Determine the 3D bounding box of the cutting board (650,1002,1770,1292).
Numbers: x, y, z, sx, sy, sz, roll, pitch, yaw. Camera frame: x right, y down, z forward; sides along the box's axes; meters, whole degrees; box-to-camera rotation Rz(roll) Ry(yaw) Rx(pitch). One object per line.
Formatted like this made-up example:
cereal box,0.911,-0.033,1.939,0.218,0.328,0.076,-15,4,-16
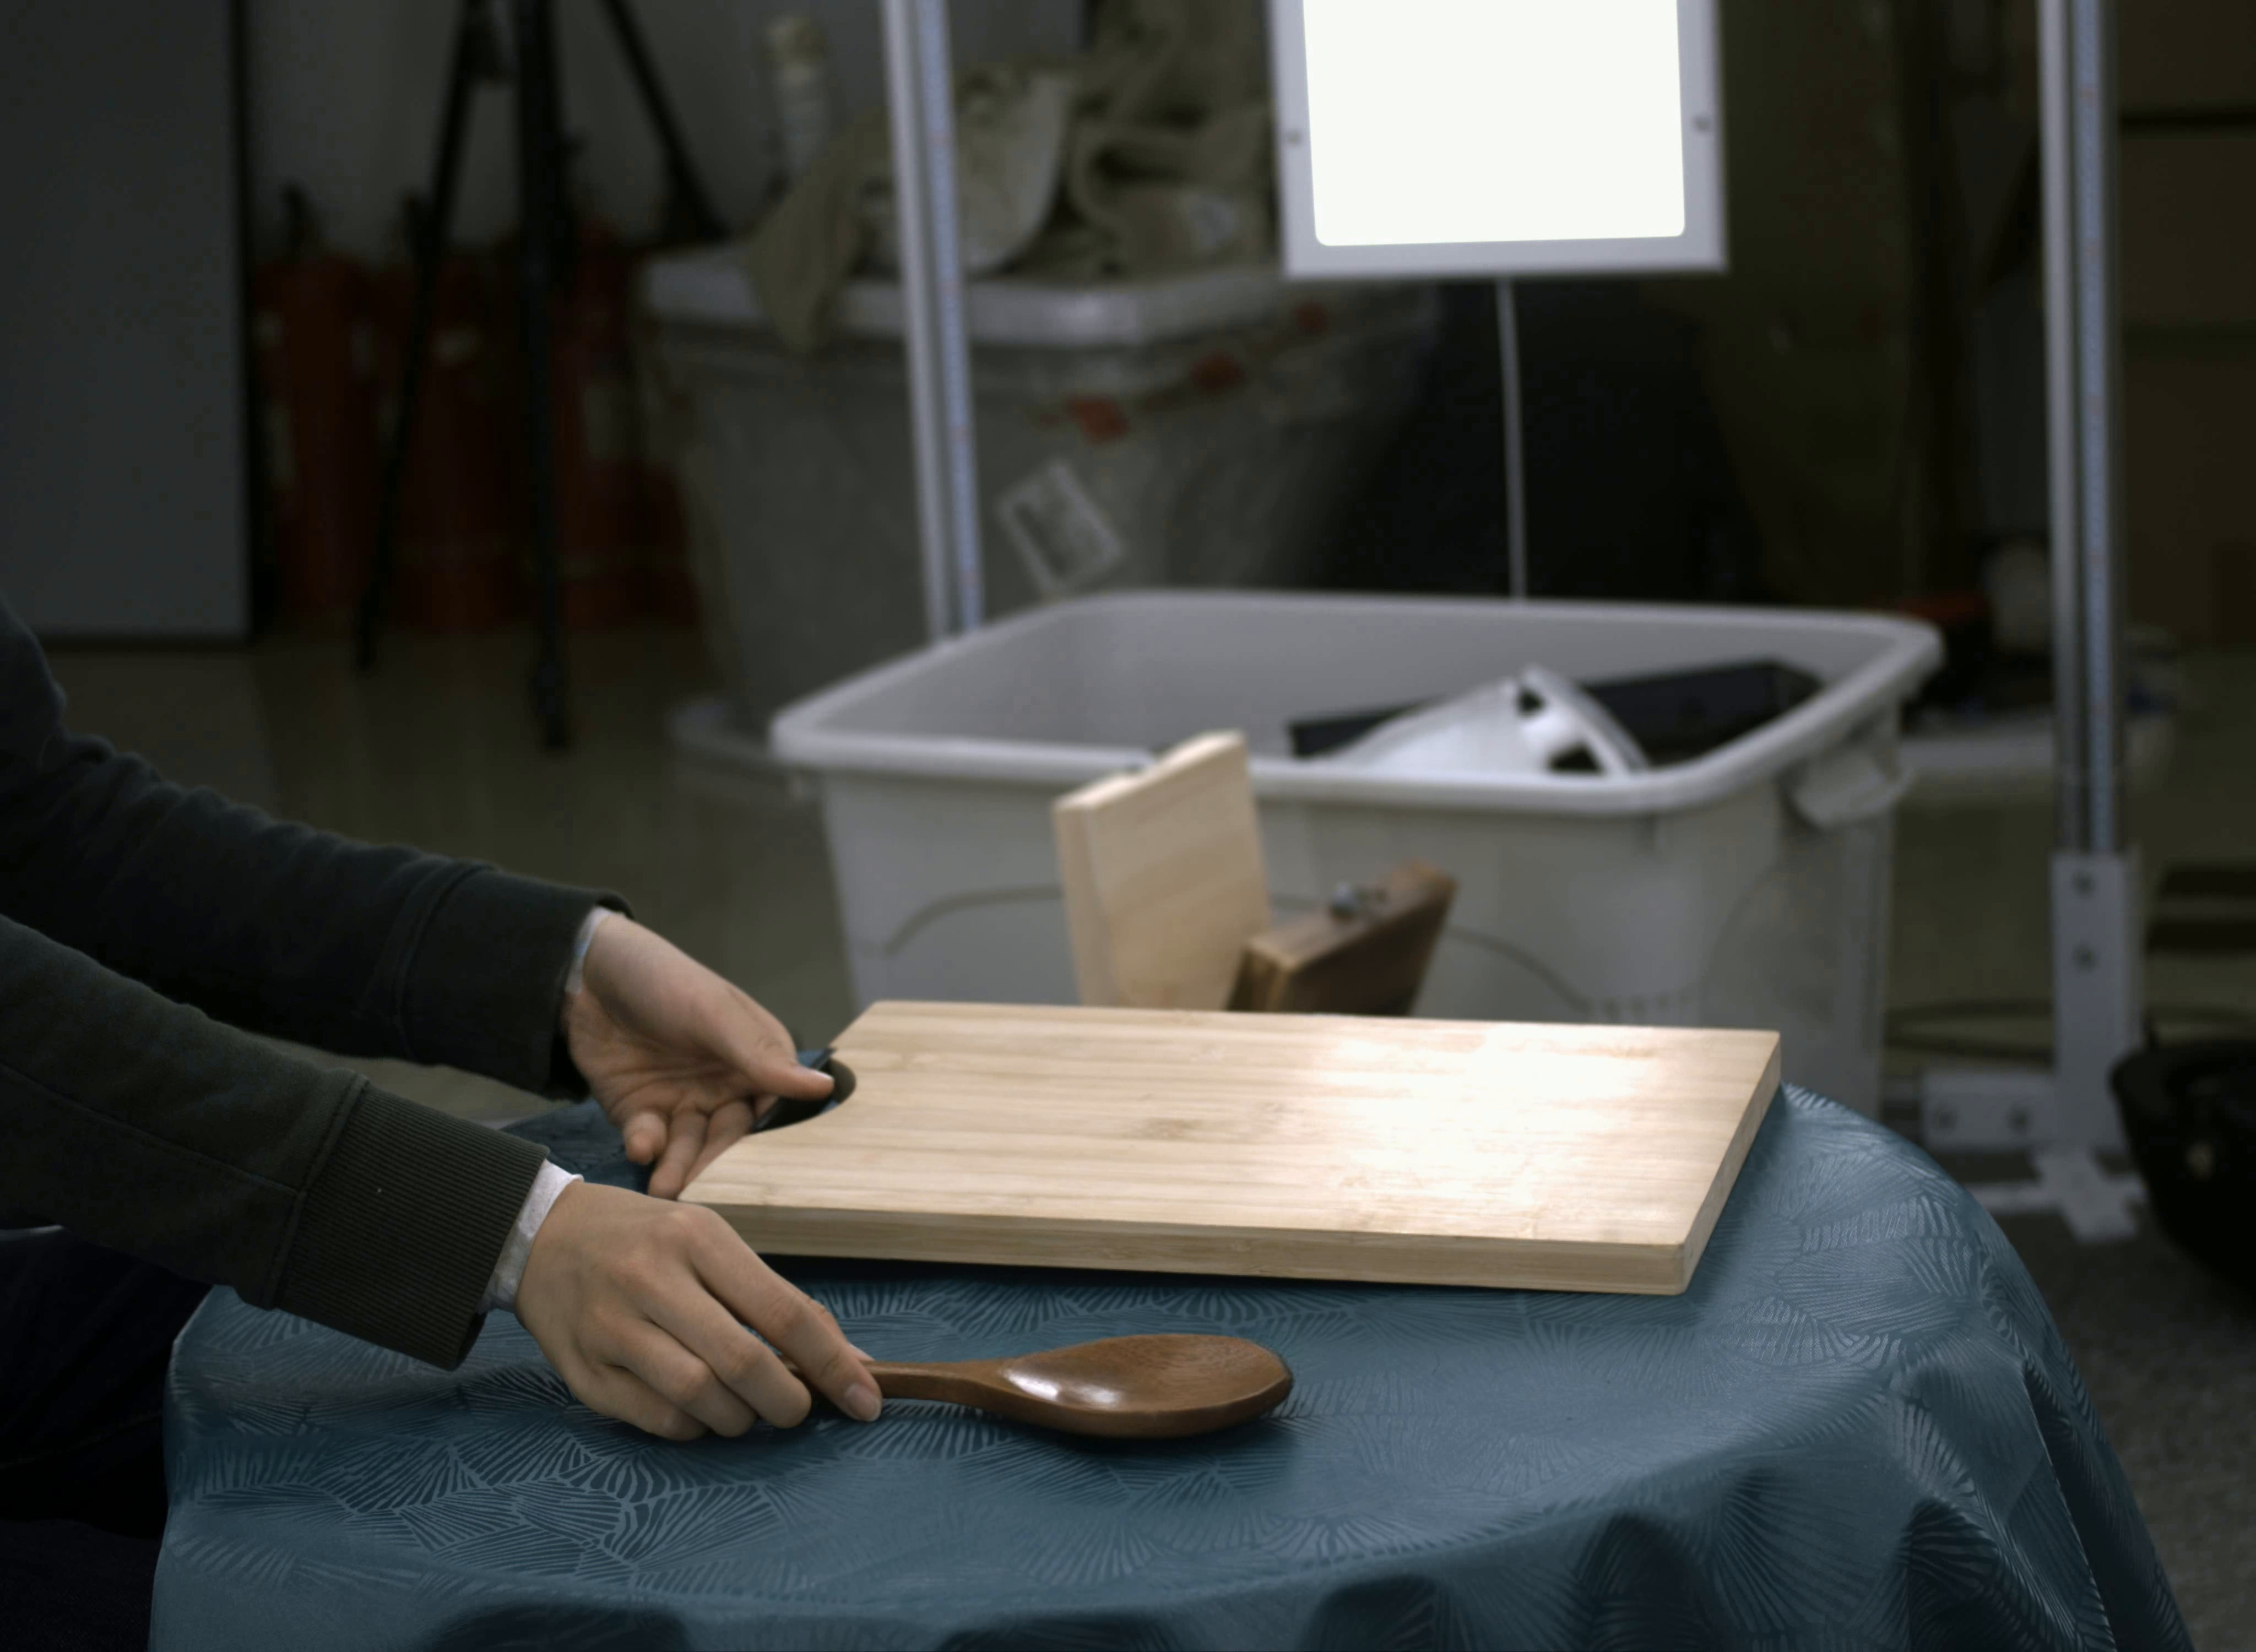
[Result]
cutting board,0.035,0.108,1.902,0.352,0.024,0.247,1,14,15

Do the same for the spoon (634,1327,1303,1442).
spoon,-0.050,0.171,1.695,0.218,0.017,0.074,1,16,20
